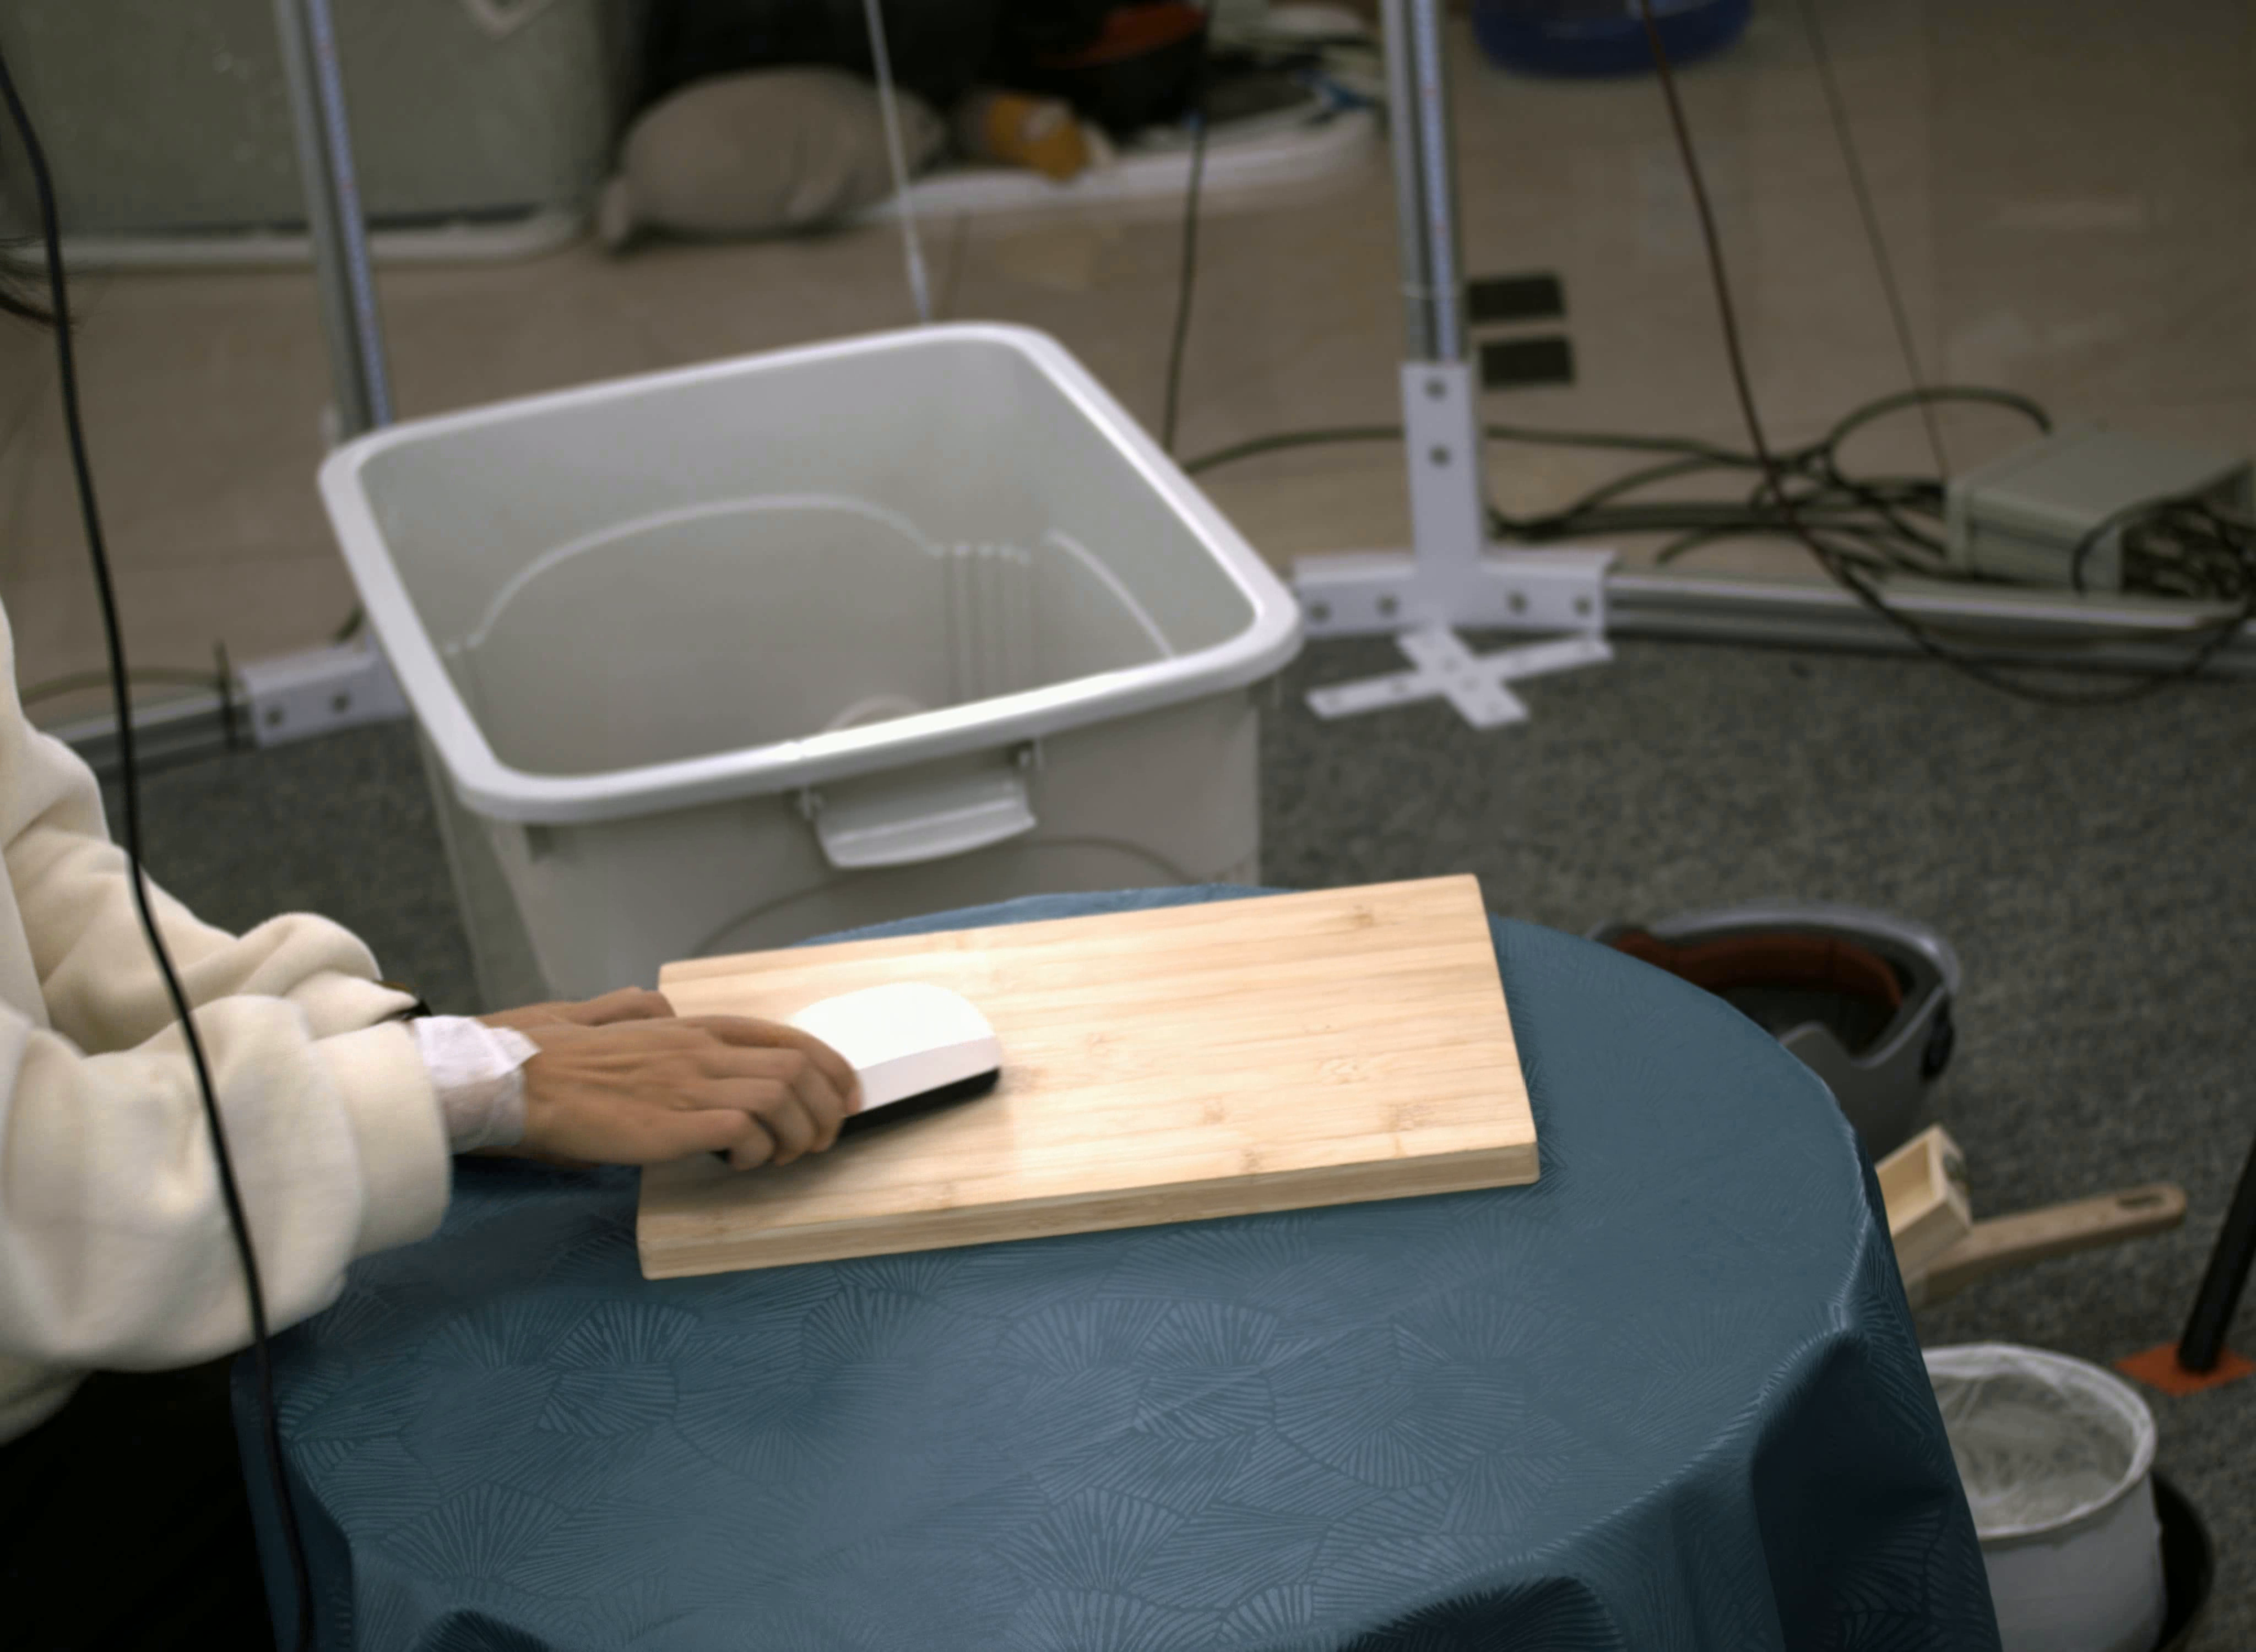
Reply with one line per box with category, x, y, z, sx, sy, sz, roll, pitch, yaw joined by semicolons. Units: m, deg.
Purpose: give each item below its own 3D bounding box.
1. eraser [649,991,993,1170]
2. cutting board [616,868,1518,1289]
eraser;-0.118;0.094;2.174;0.130;0.035;0.063;-16;27;-29
cutting board;-0.024;0.096;2.227;0.348;0.024;0.247;-7;25;0
